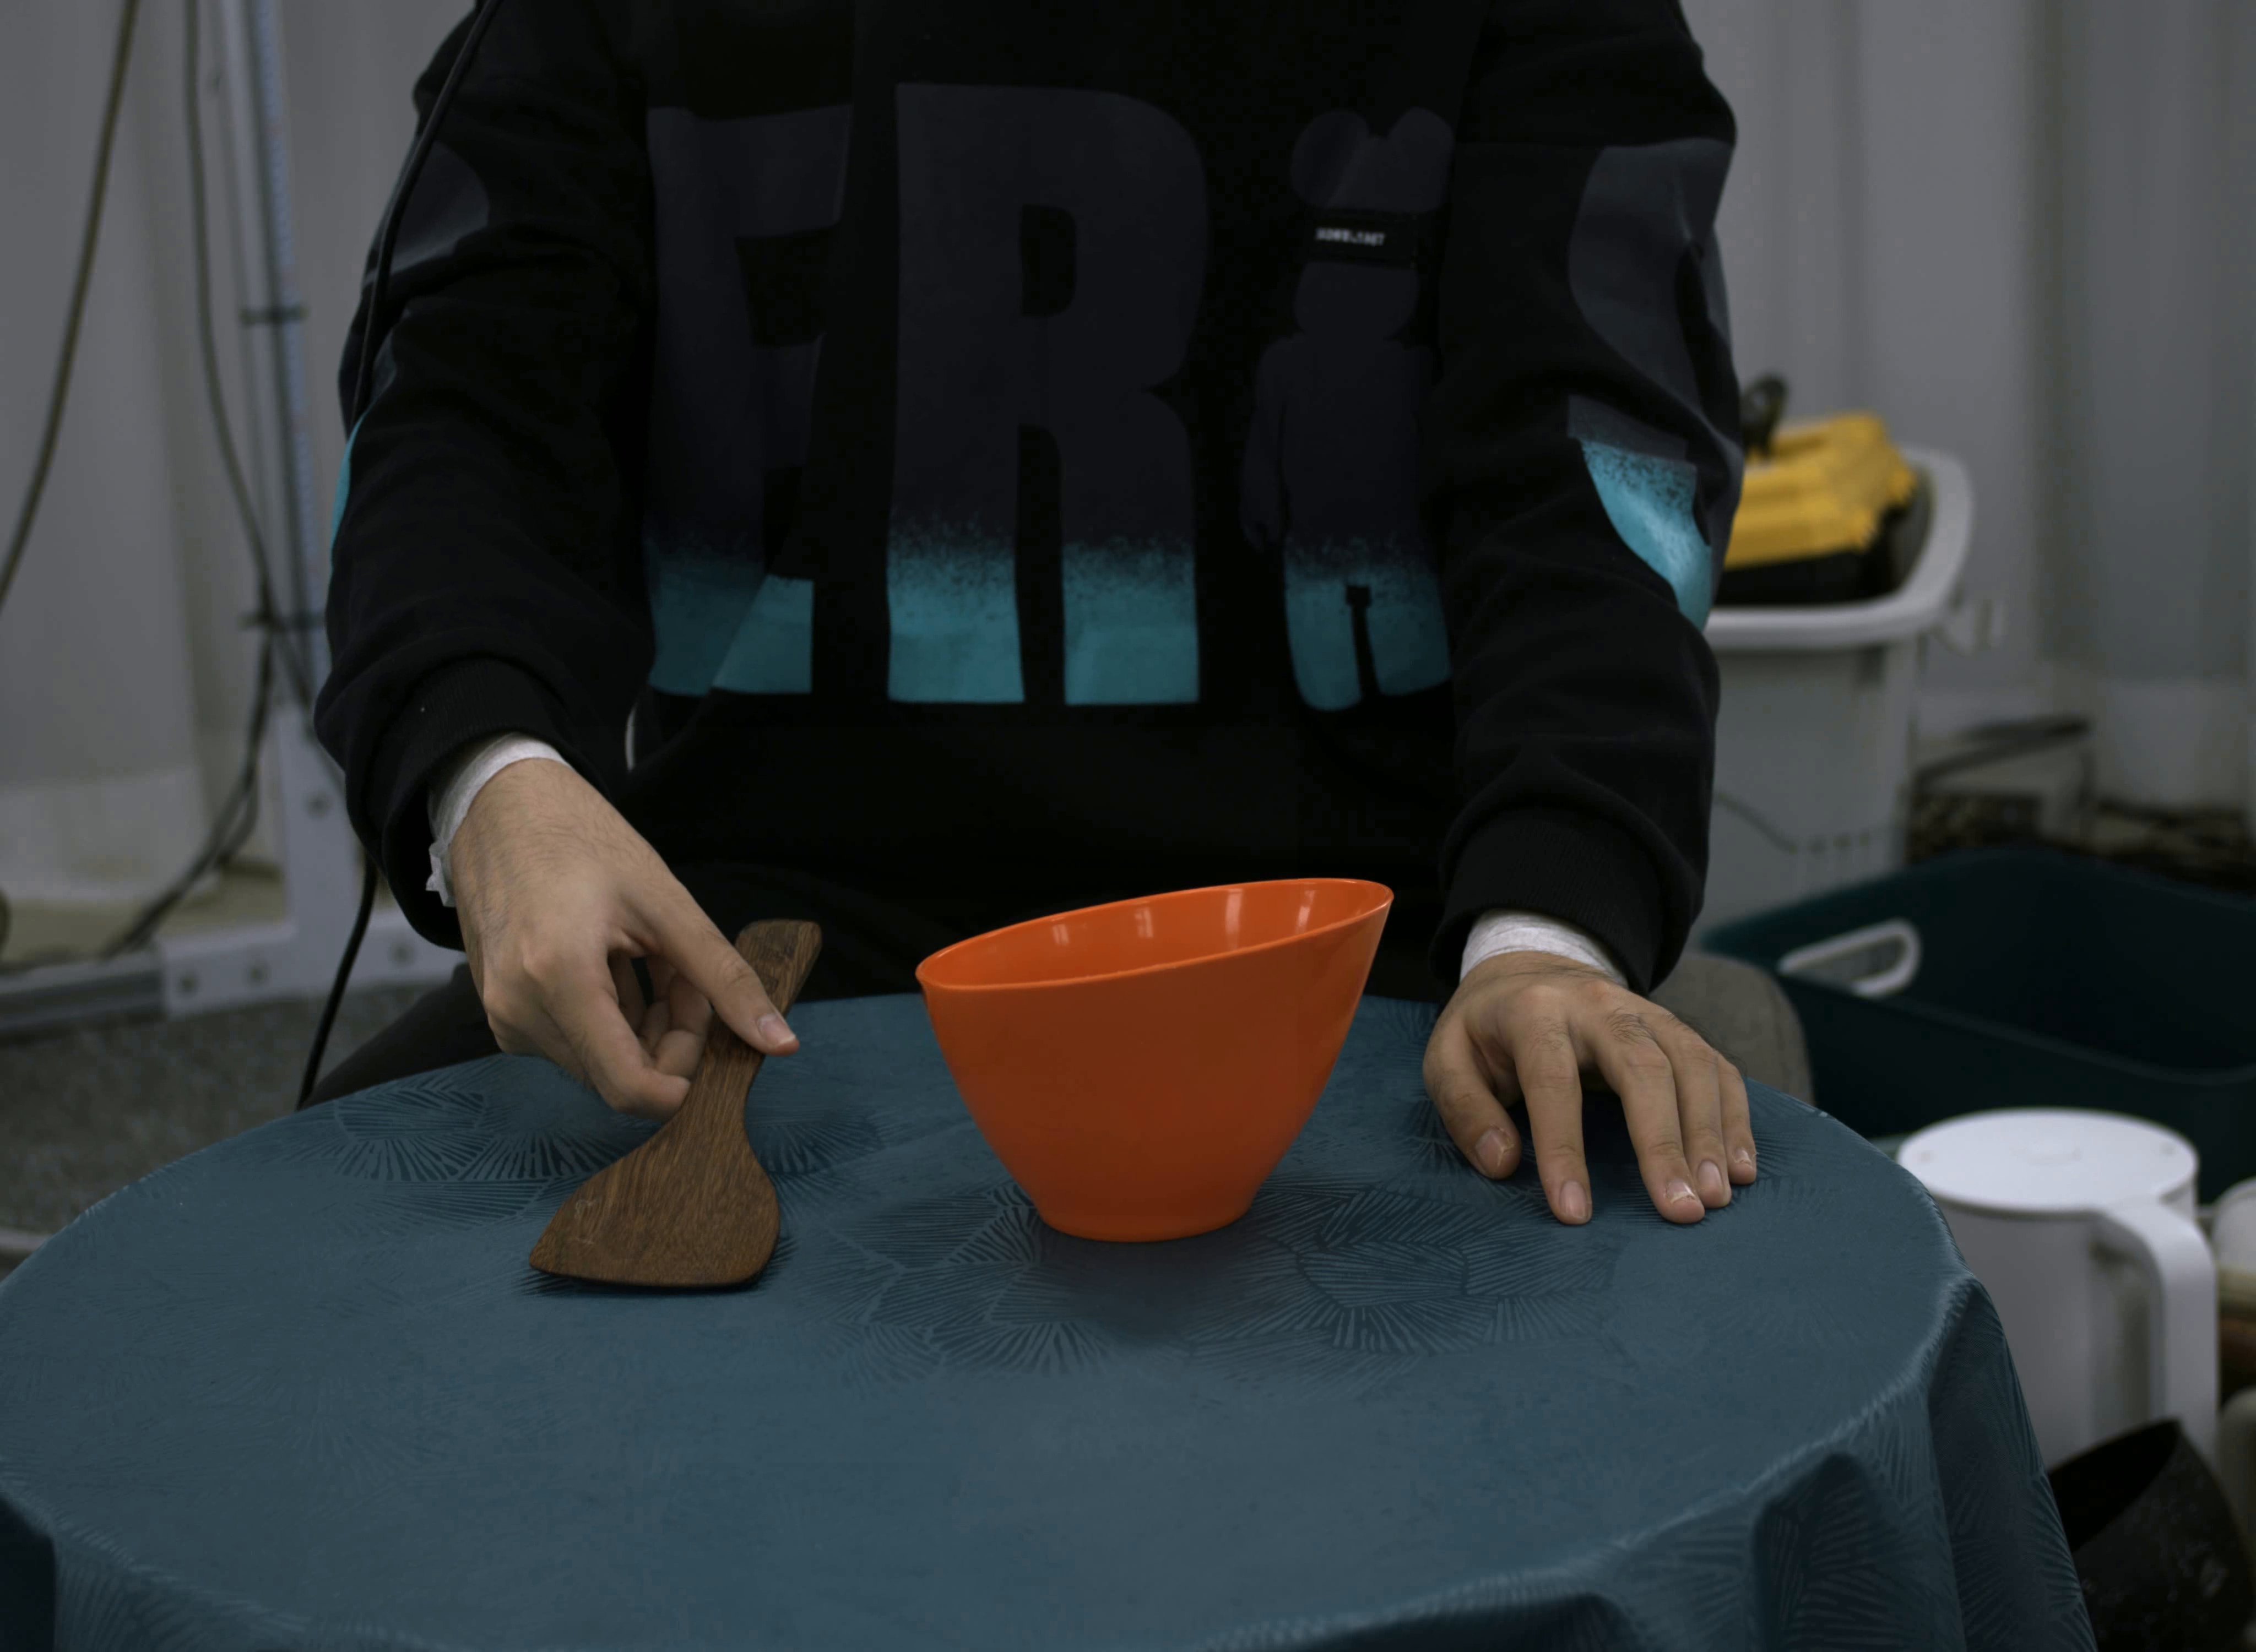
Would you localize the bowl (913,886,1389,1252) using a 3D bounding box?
[{"bbox_3d":[0.009,0.074,1.677,0.147,0.104,0.149,-4,13,1],"label":"bowl"}]

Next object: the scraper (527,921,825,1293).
[{"bbox_3d":[-0.130,0.087,1.733,0.076,0.011,0.213,4,31,9],"label":"scraper"}]
